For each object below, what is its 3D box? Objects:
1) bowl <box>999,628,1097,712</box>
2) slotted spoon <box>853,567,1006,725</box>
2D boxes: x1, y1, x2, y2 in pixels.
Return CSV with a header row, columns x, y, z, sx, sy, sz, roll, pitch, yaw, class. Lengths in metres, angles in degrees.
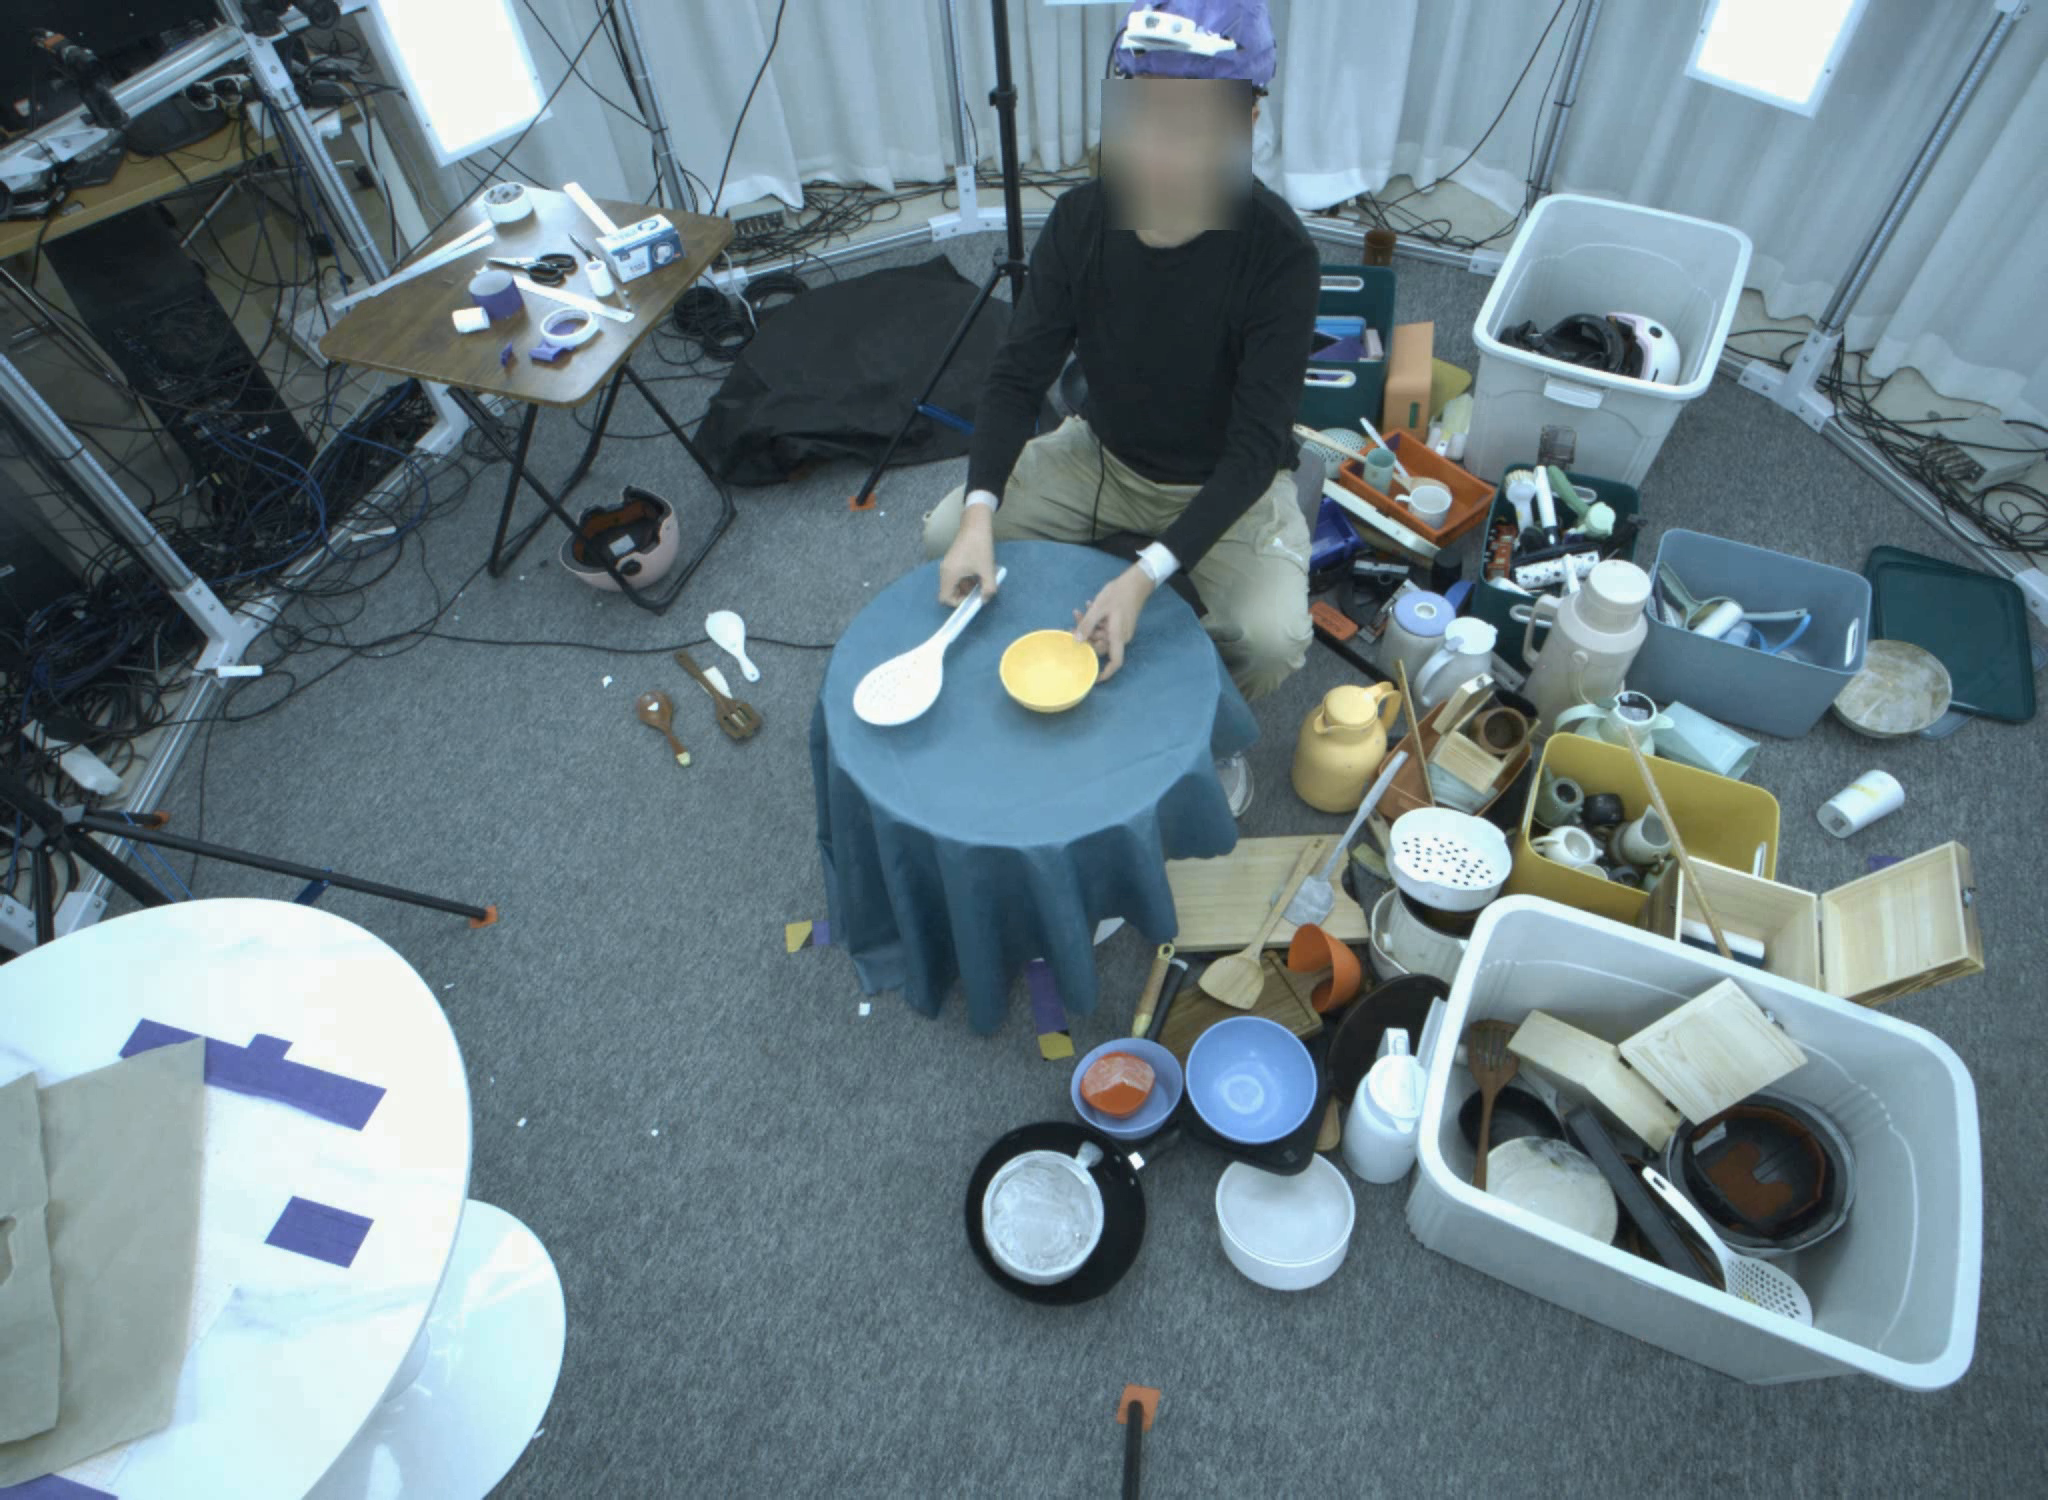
x,y,z,sx,sy,sz,roll,pitch,yaw,class
0.037,-0.107,1.828,0.145,0.061,0.144,0,56,1,bowl
-0.130,-0.162,1.864,0.133,0.046,0.350,17,61,31,slotted spoon
